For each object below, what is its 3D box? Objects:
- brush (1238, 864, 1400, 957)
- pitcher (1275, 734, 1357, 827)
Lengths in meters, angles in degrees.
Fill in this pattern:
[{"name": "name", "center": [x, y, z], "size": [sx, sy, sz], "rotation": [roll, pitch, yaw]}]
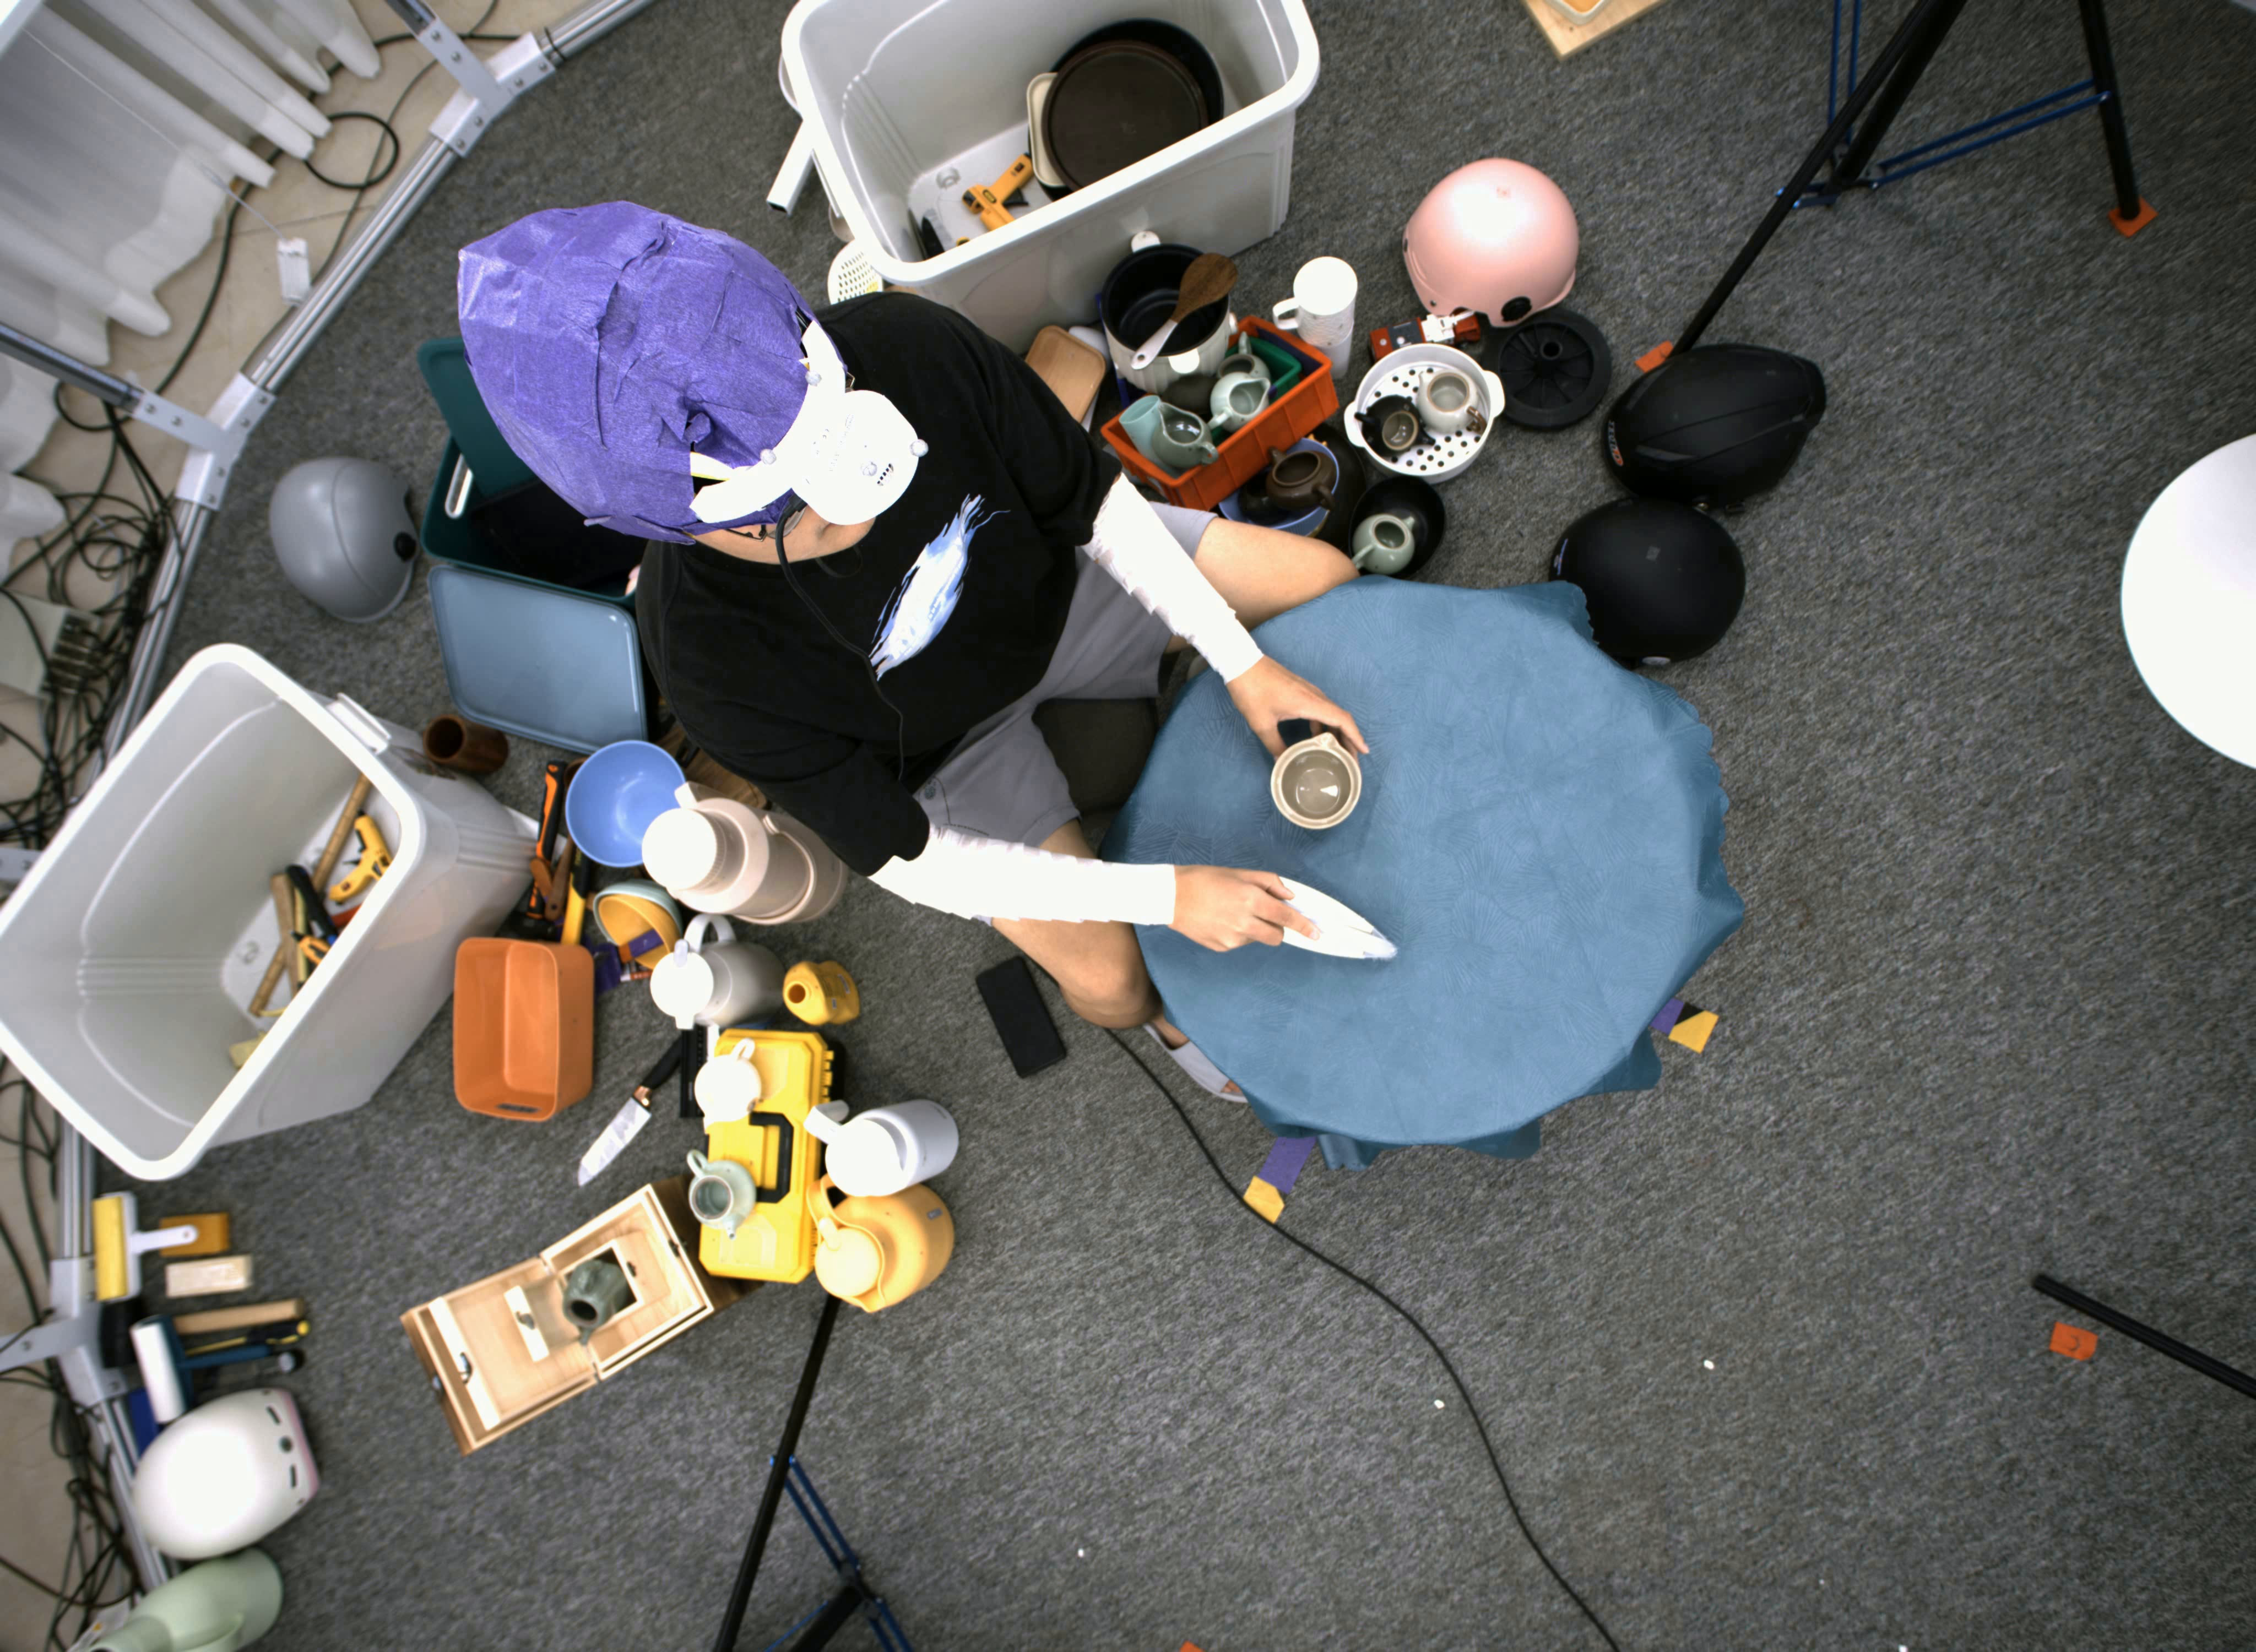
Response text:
[{"name": "brush", "center": [0.195, 0.095, 1.407], "size": [0.175, 0.093, 0.062], "rotation": [22, 97, 6]}, {"name": "pitcher", "center": [0.198, -0.044, 1.441], "size": [0.084, 0.071, 0.095], "rotation": [12, 85, 12]}]
